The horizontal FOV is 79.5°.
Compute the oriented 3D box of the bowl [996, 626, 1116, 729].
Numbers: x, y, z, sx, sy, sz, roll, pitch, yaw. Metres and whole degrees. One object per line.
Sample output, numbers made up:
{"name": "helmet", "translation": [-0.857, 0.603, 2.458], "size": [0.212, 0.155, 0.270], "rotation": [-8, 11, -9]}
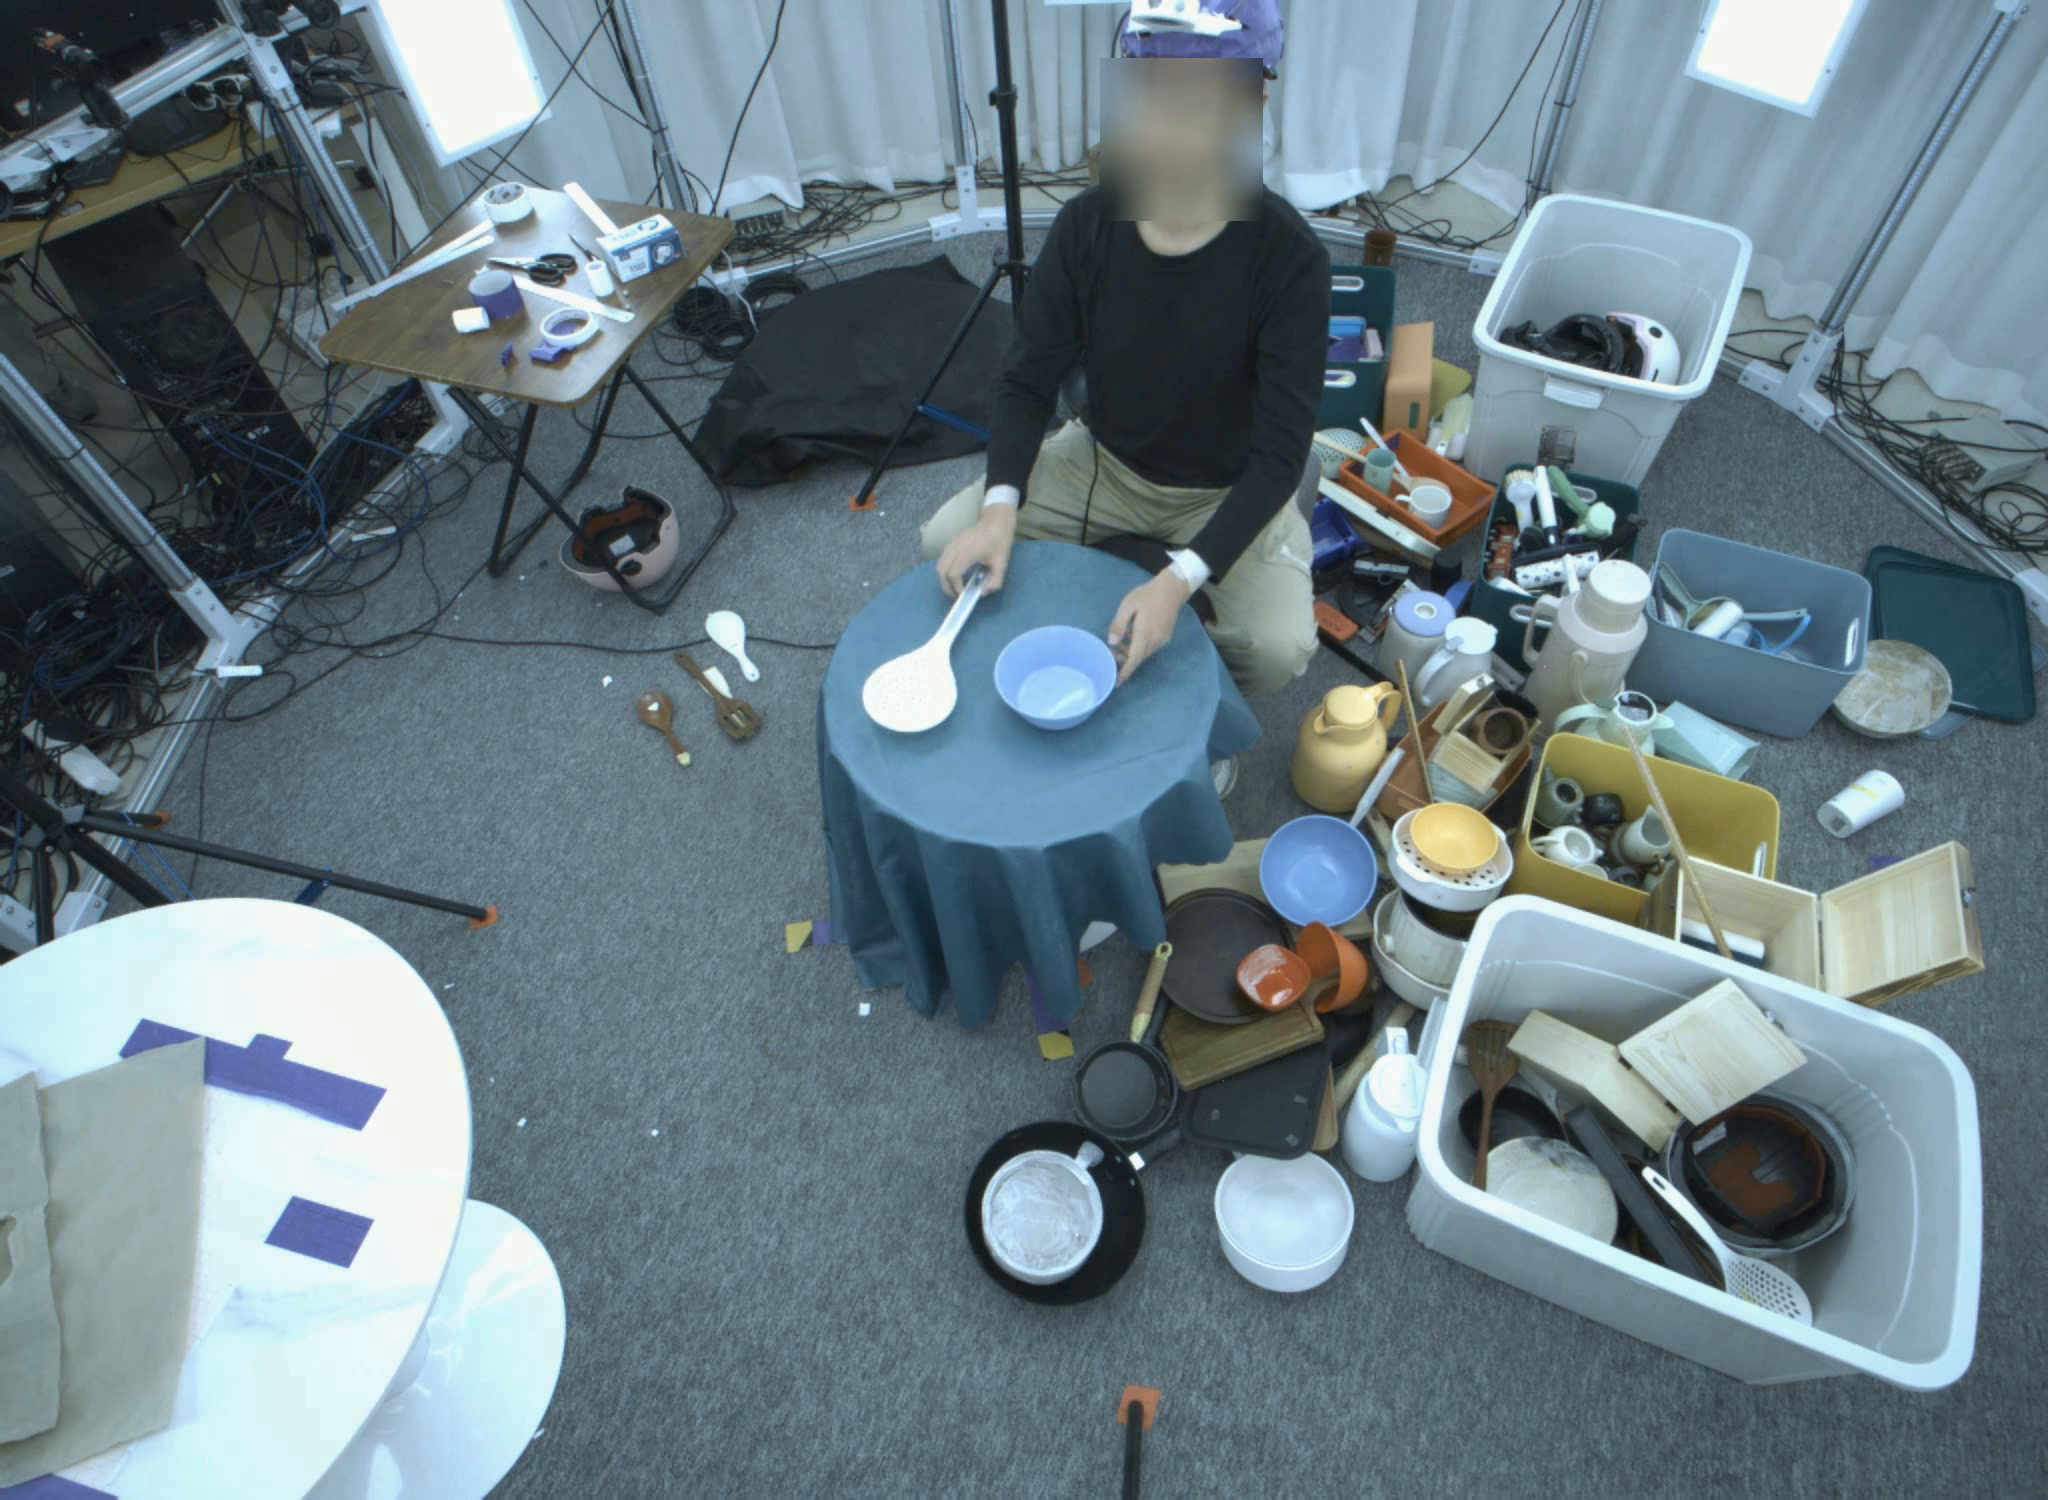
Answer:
{"name": "bowl", "translation": [0.048, -0.096, 1.812], "size": [0.176, 0.071, 0.174], "rotation": [0, 54, 2]}

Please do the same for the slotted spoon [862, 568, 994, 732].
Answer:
{"name": "slotted spoon", "translation": [-0.128, -0.157, 1.866], "size": [0.135, 0.046, 0.349], "rotation": [20, 61, 11]}
